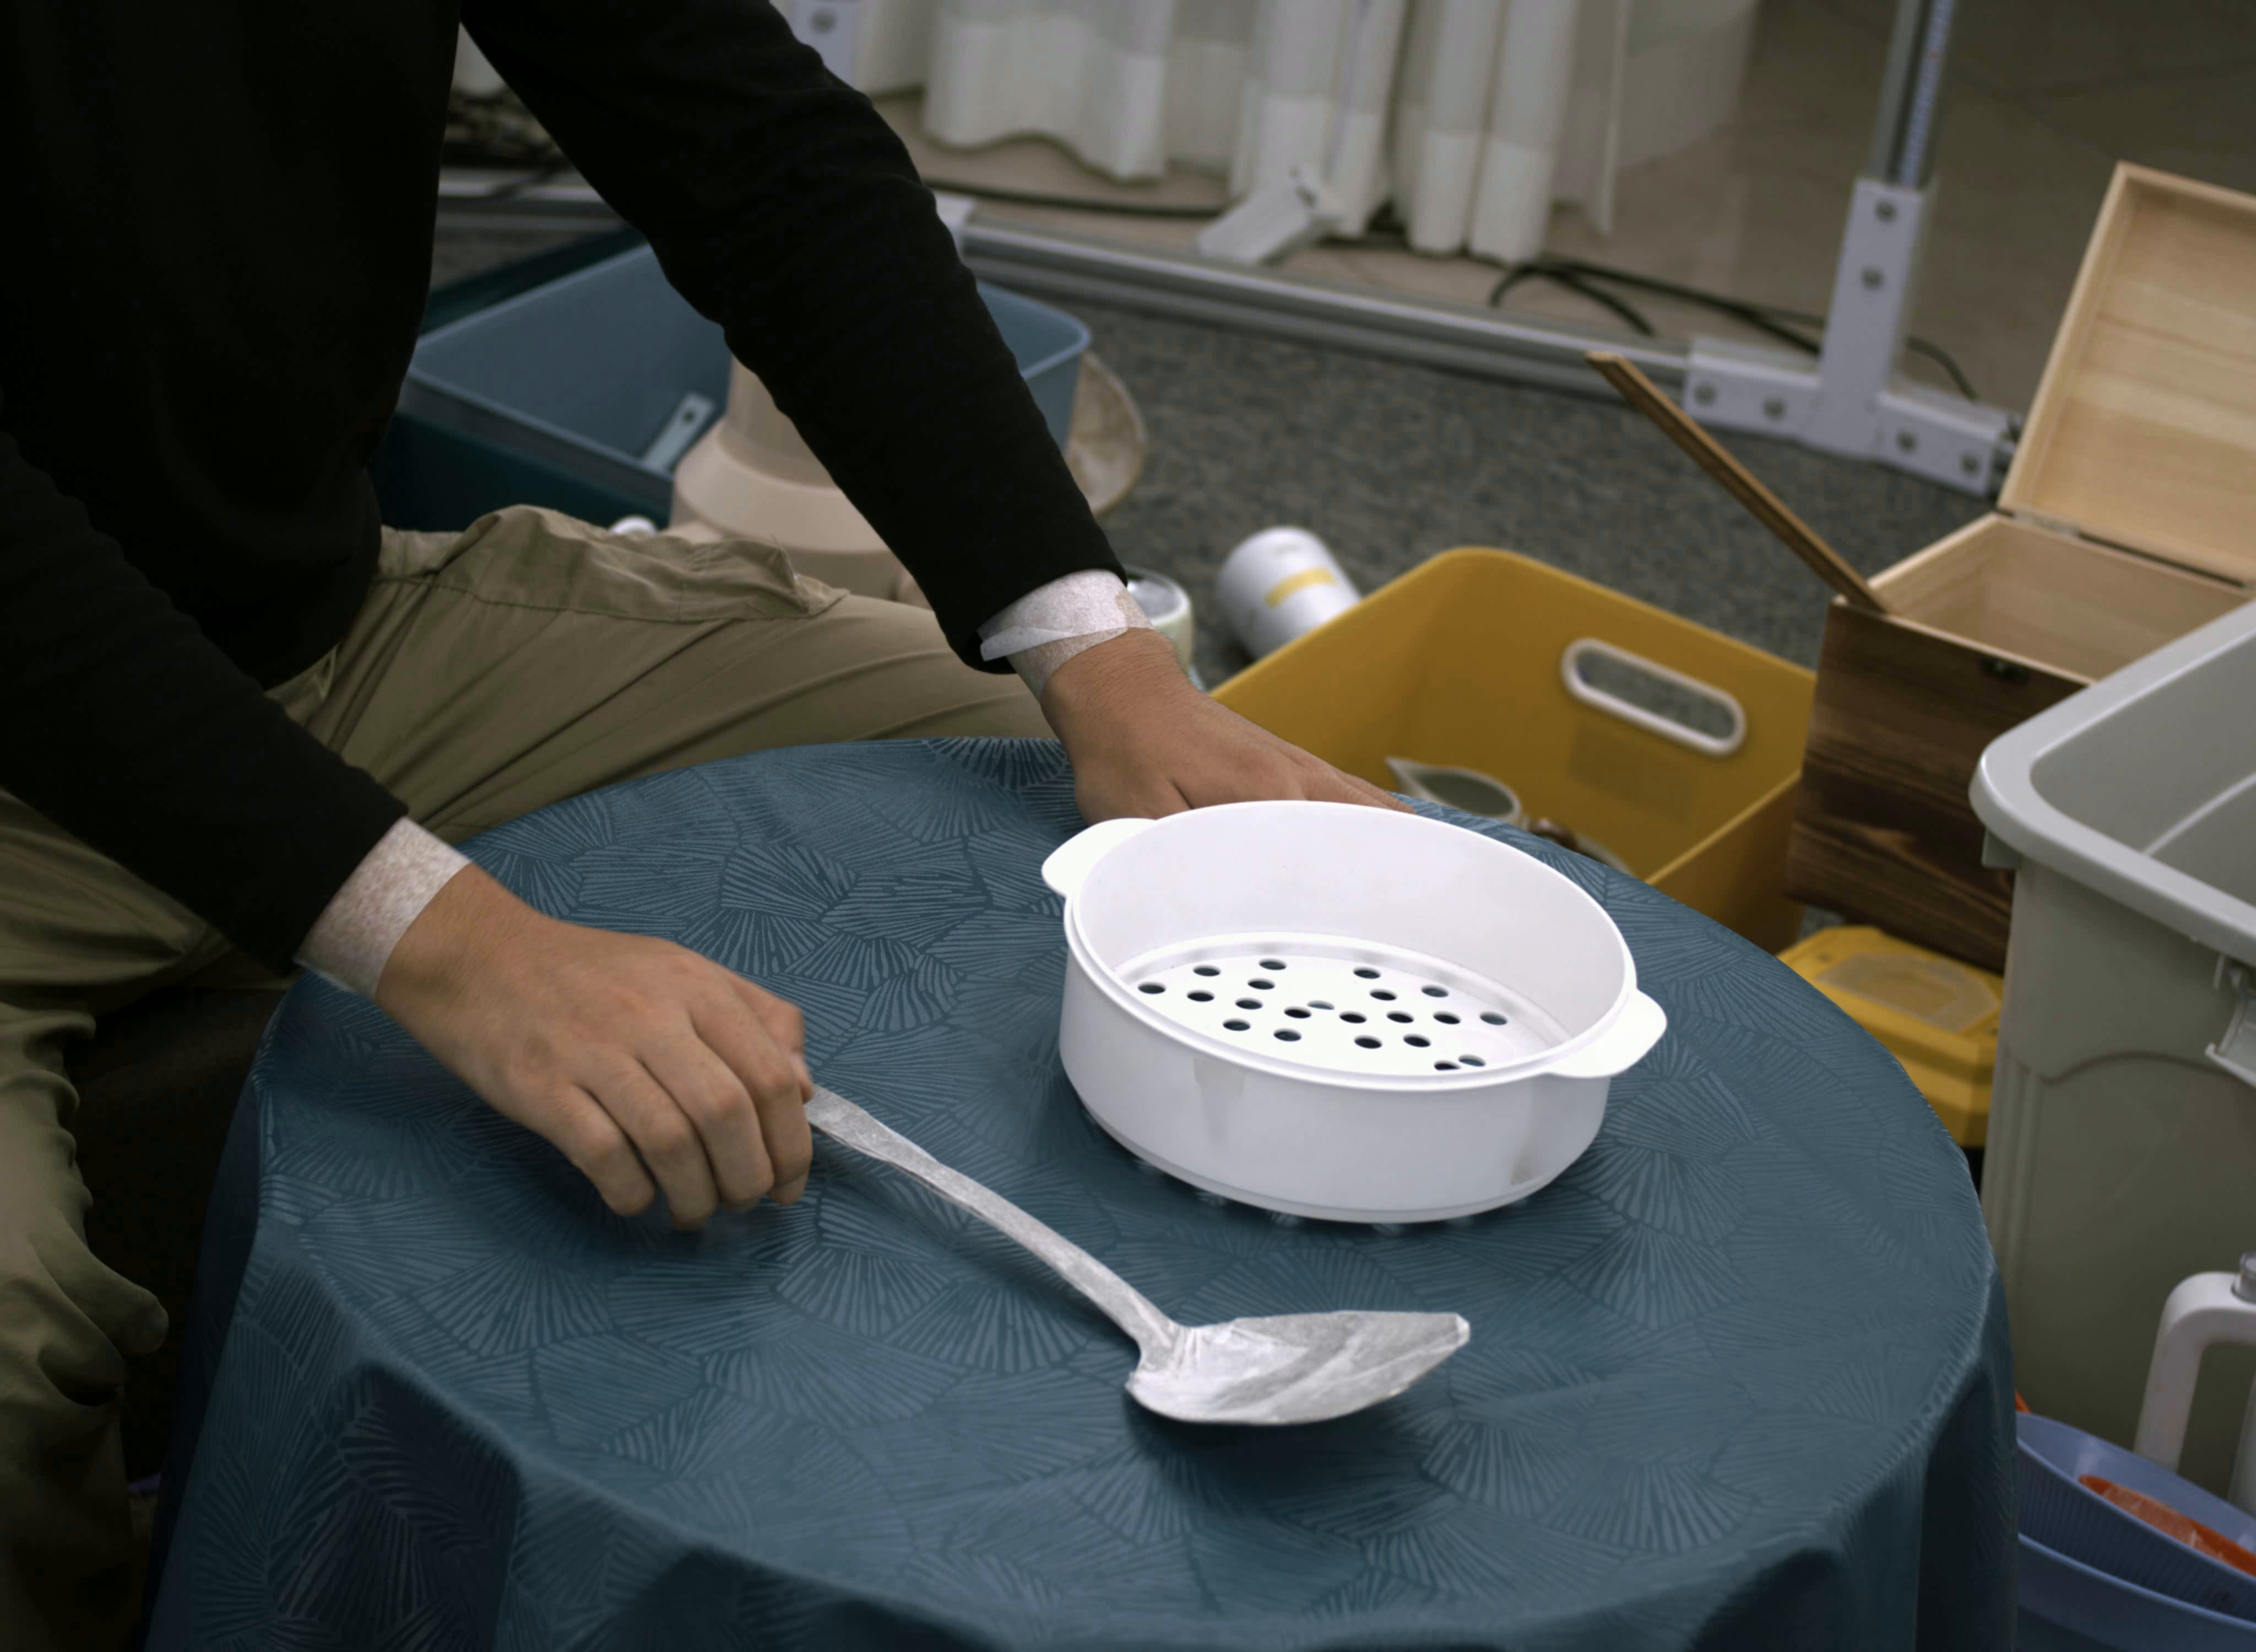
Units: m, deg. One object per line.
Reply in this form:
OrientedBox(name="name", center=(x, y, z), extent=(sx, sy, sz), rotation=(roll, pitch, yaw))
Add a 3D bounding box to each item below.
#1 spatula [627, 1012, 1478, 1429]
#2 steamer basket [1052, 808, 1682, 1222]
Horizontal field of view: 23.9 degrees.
OrientedBox(name="spatula", center=(-0.046, 0.121, 1.755), extent=(0.367, 0.044, 0.098), rotation=(27, 36, 35))
OrientedBox(name="steamer basket", center=(0.078, 0.066, 1.855), extent=(0.231, 0.069, 0.201), rotation=(19, 28, 25))
